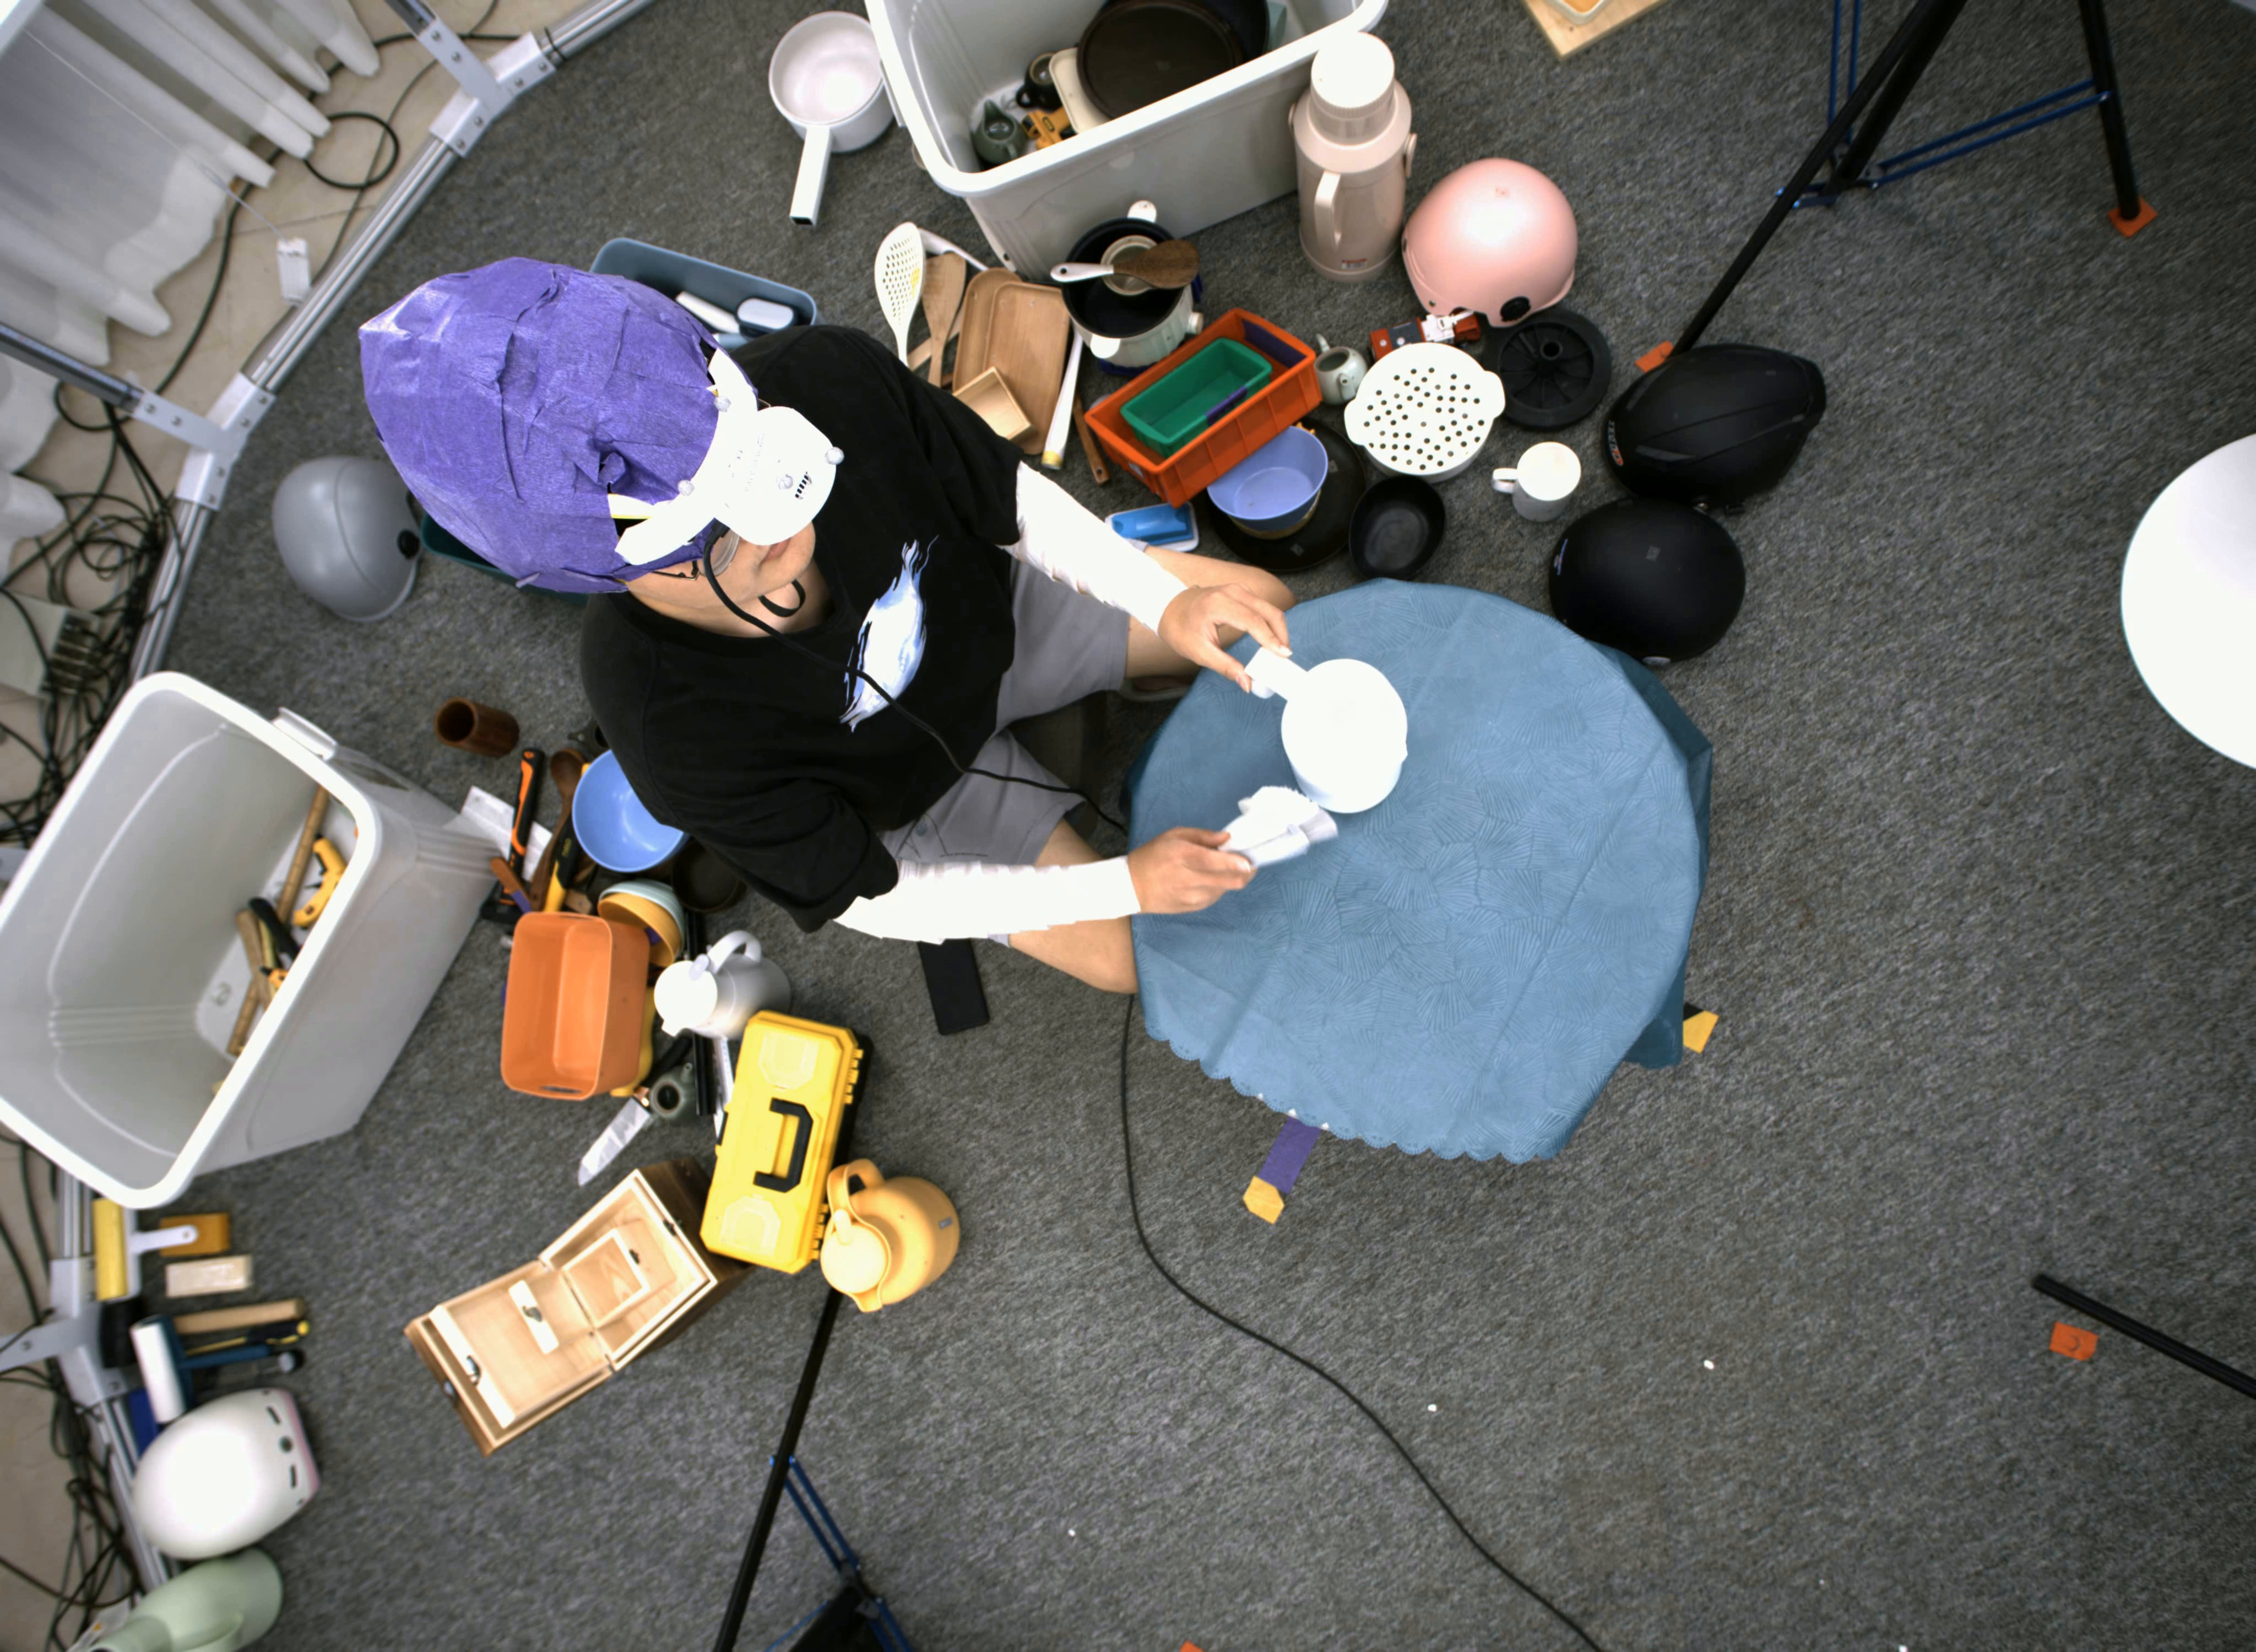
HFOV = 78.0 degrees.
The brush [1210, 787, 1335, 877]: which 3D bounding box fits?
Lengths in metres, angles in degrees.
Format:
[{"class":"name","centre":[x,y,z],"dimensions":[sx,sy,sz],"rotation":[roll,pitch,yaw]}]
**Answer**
[{"class":"brush","centre":[0.130,0.011,1.312],"dimensions":[0.094,0.175,0.062],"rotation":[-38,104,-8]}]

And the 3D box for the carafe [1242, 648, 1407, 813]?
[{"class":"carafe","centre":[0.196,-0.095,1.346],"dimensions":[0.172,0.269,0.124],"rotation":[34,93,12]}]
